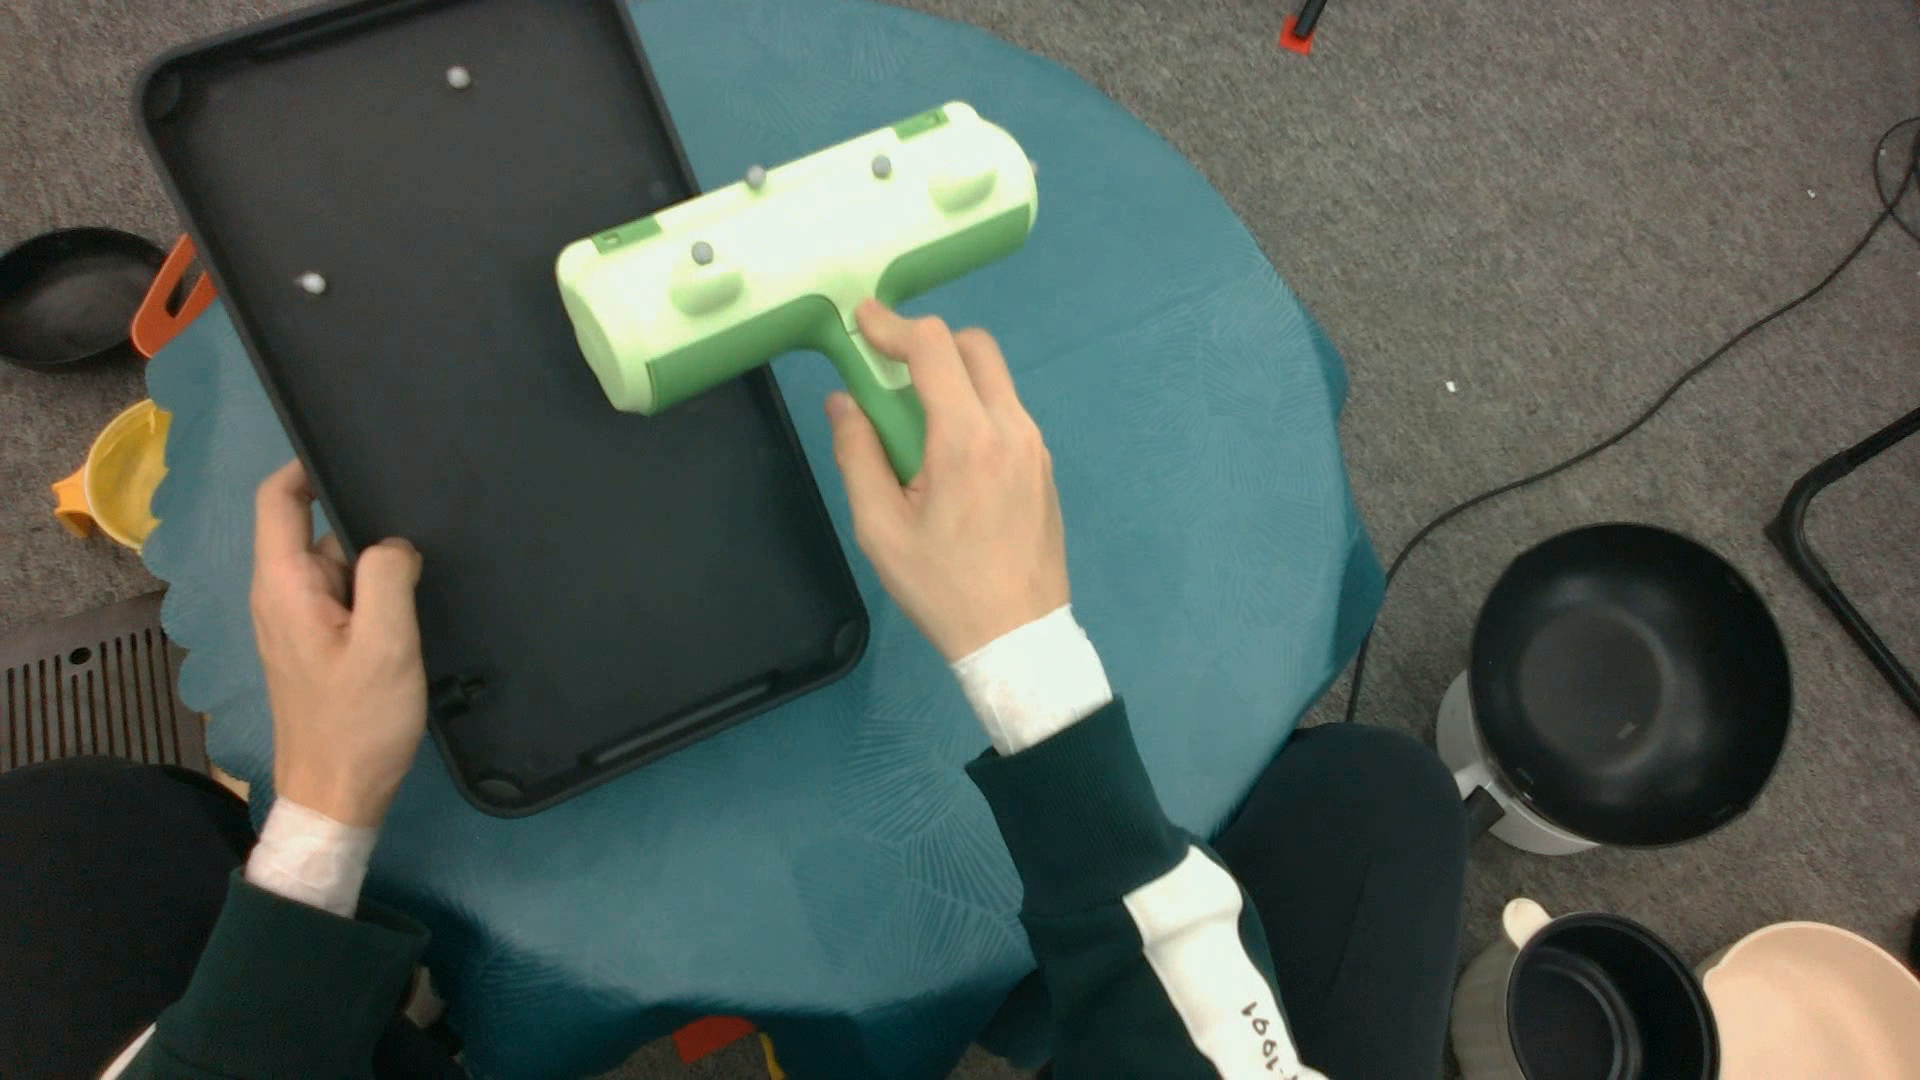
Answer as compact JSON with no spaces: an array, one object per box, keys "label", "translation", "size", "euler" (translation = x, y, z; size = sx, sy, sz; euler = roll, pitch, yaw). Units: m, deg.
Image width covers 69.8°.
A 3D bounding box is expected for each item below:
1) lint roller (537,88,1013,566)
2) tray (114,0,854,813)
[{"label":"lint roller","translation":[-0.034,-0.076,0.539],"size":[0.199,0.082,0.183],"euler":[-30,81,-26]},{"label":"tray","translation":[-0.180,-0.061,0.566],"size":[0.184,0.037,0.317],"euler":[-24,105,-13]}]
